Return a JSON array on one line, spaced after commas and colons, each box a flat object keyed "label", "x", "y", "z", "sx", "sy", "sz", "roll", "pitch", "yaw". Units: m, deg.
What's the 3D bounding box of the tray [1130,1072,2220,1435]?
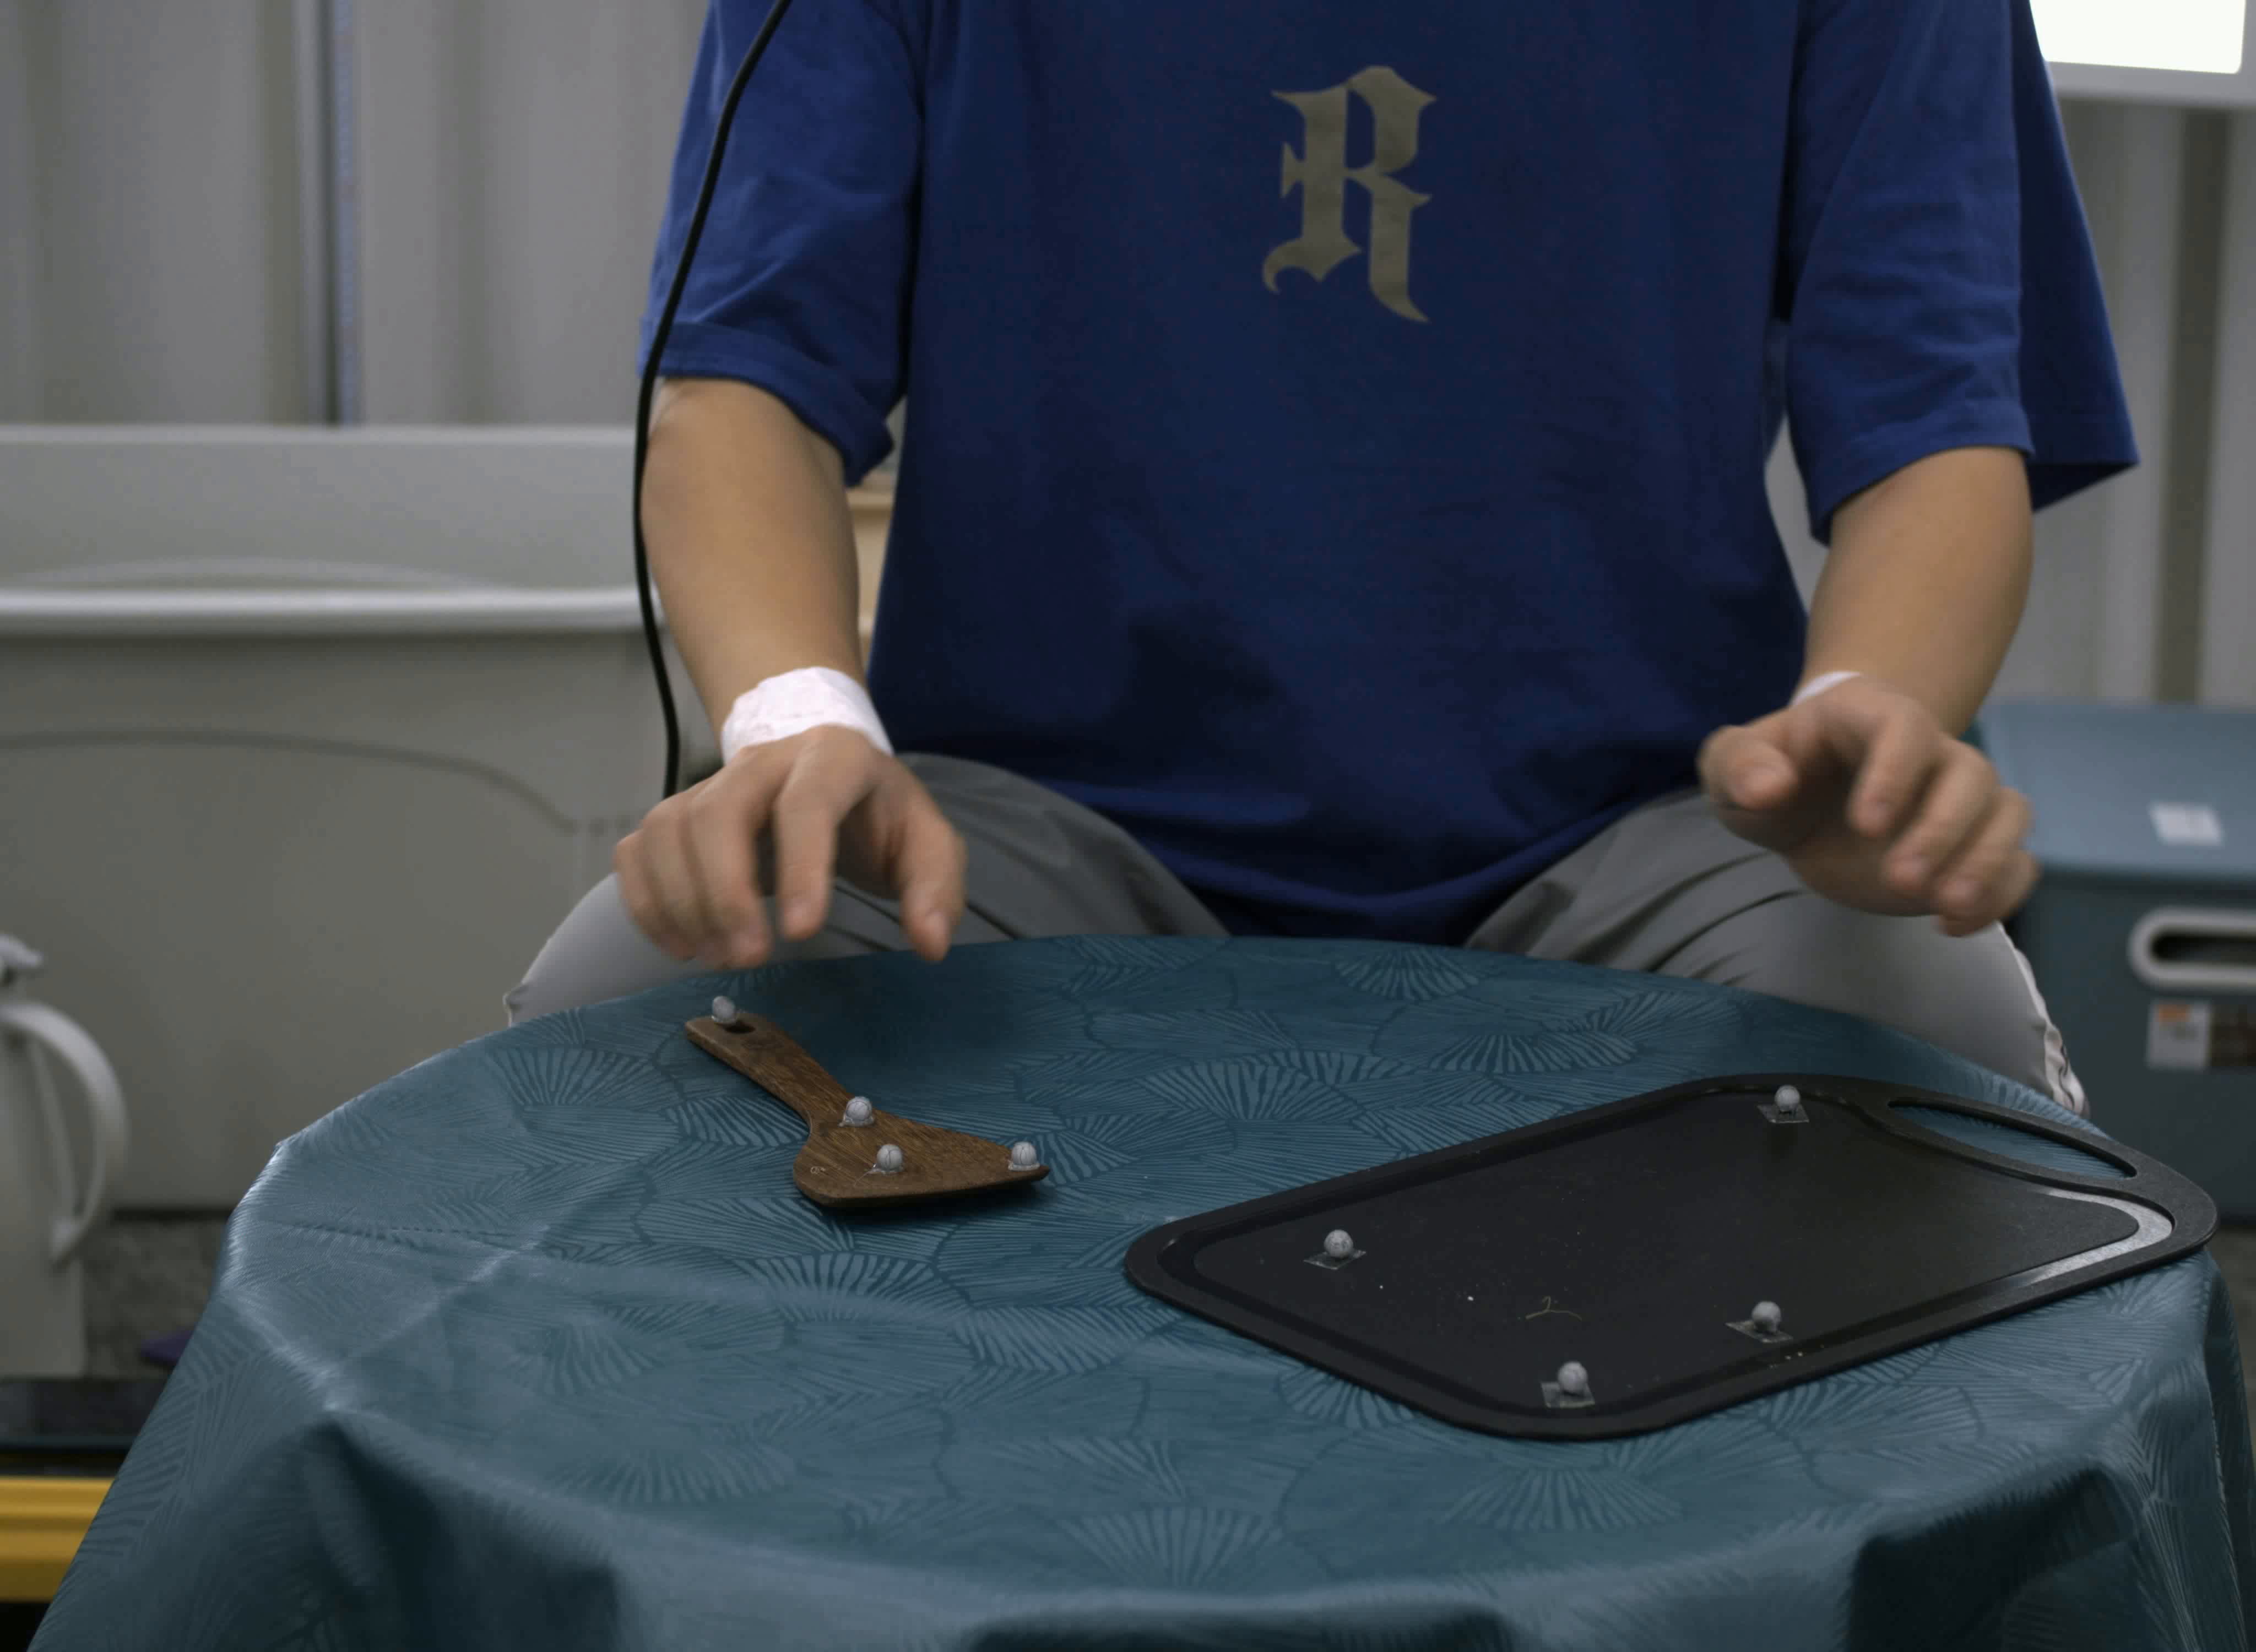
[{"label": "tray", "x": 0.172, "y": 0.120, "z": 1.587, "sx": 0.327, "sy": 0.010, "sz": 0.208, "roll": -12, "pitch": 19, "yaw": -38}]

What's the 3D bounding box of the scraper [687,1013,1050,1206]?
[{"label": "scraper", "x": -0.096, "y": 0.090, "z": 1.686, "sx": 0.076, "sy": 0.011, "sz": 0.209, "roll": -5, "pitch": 16, "yaw": -23}]
